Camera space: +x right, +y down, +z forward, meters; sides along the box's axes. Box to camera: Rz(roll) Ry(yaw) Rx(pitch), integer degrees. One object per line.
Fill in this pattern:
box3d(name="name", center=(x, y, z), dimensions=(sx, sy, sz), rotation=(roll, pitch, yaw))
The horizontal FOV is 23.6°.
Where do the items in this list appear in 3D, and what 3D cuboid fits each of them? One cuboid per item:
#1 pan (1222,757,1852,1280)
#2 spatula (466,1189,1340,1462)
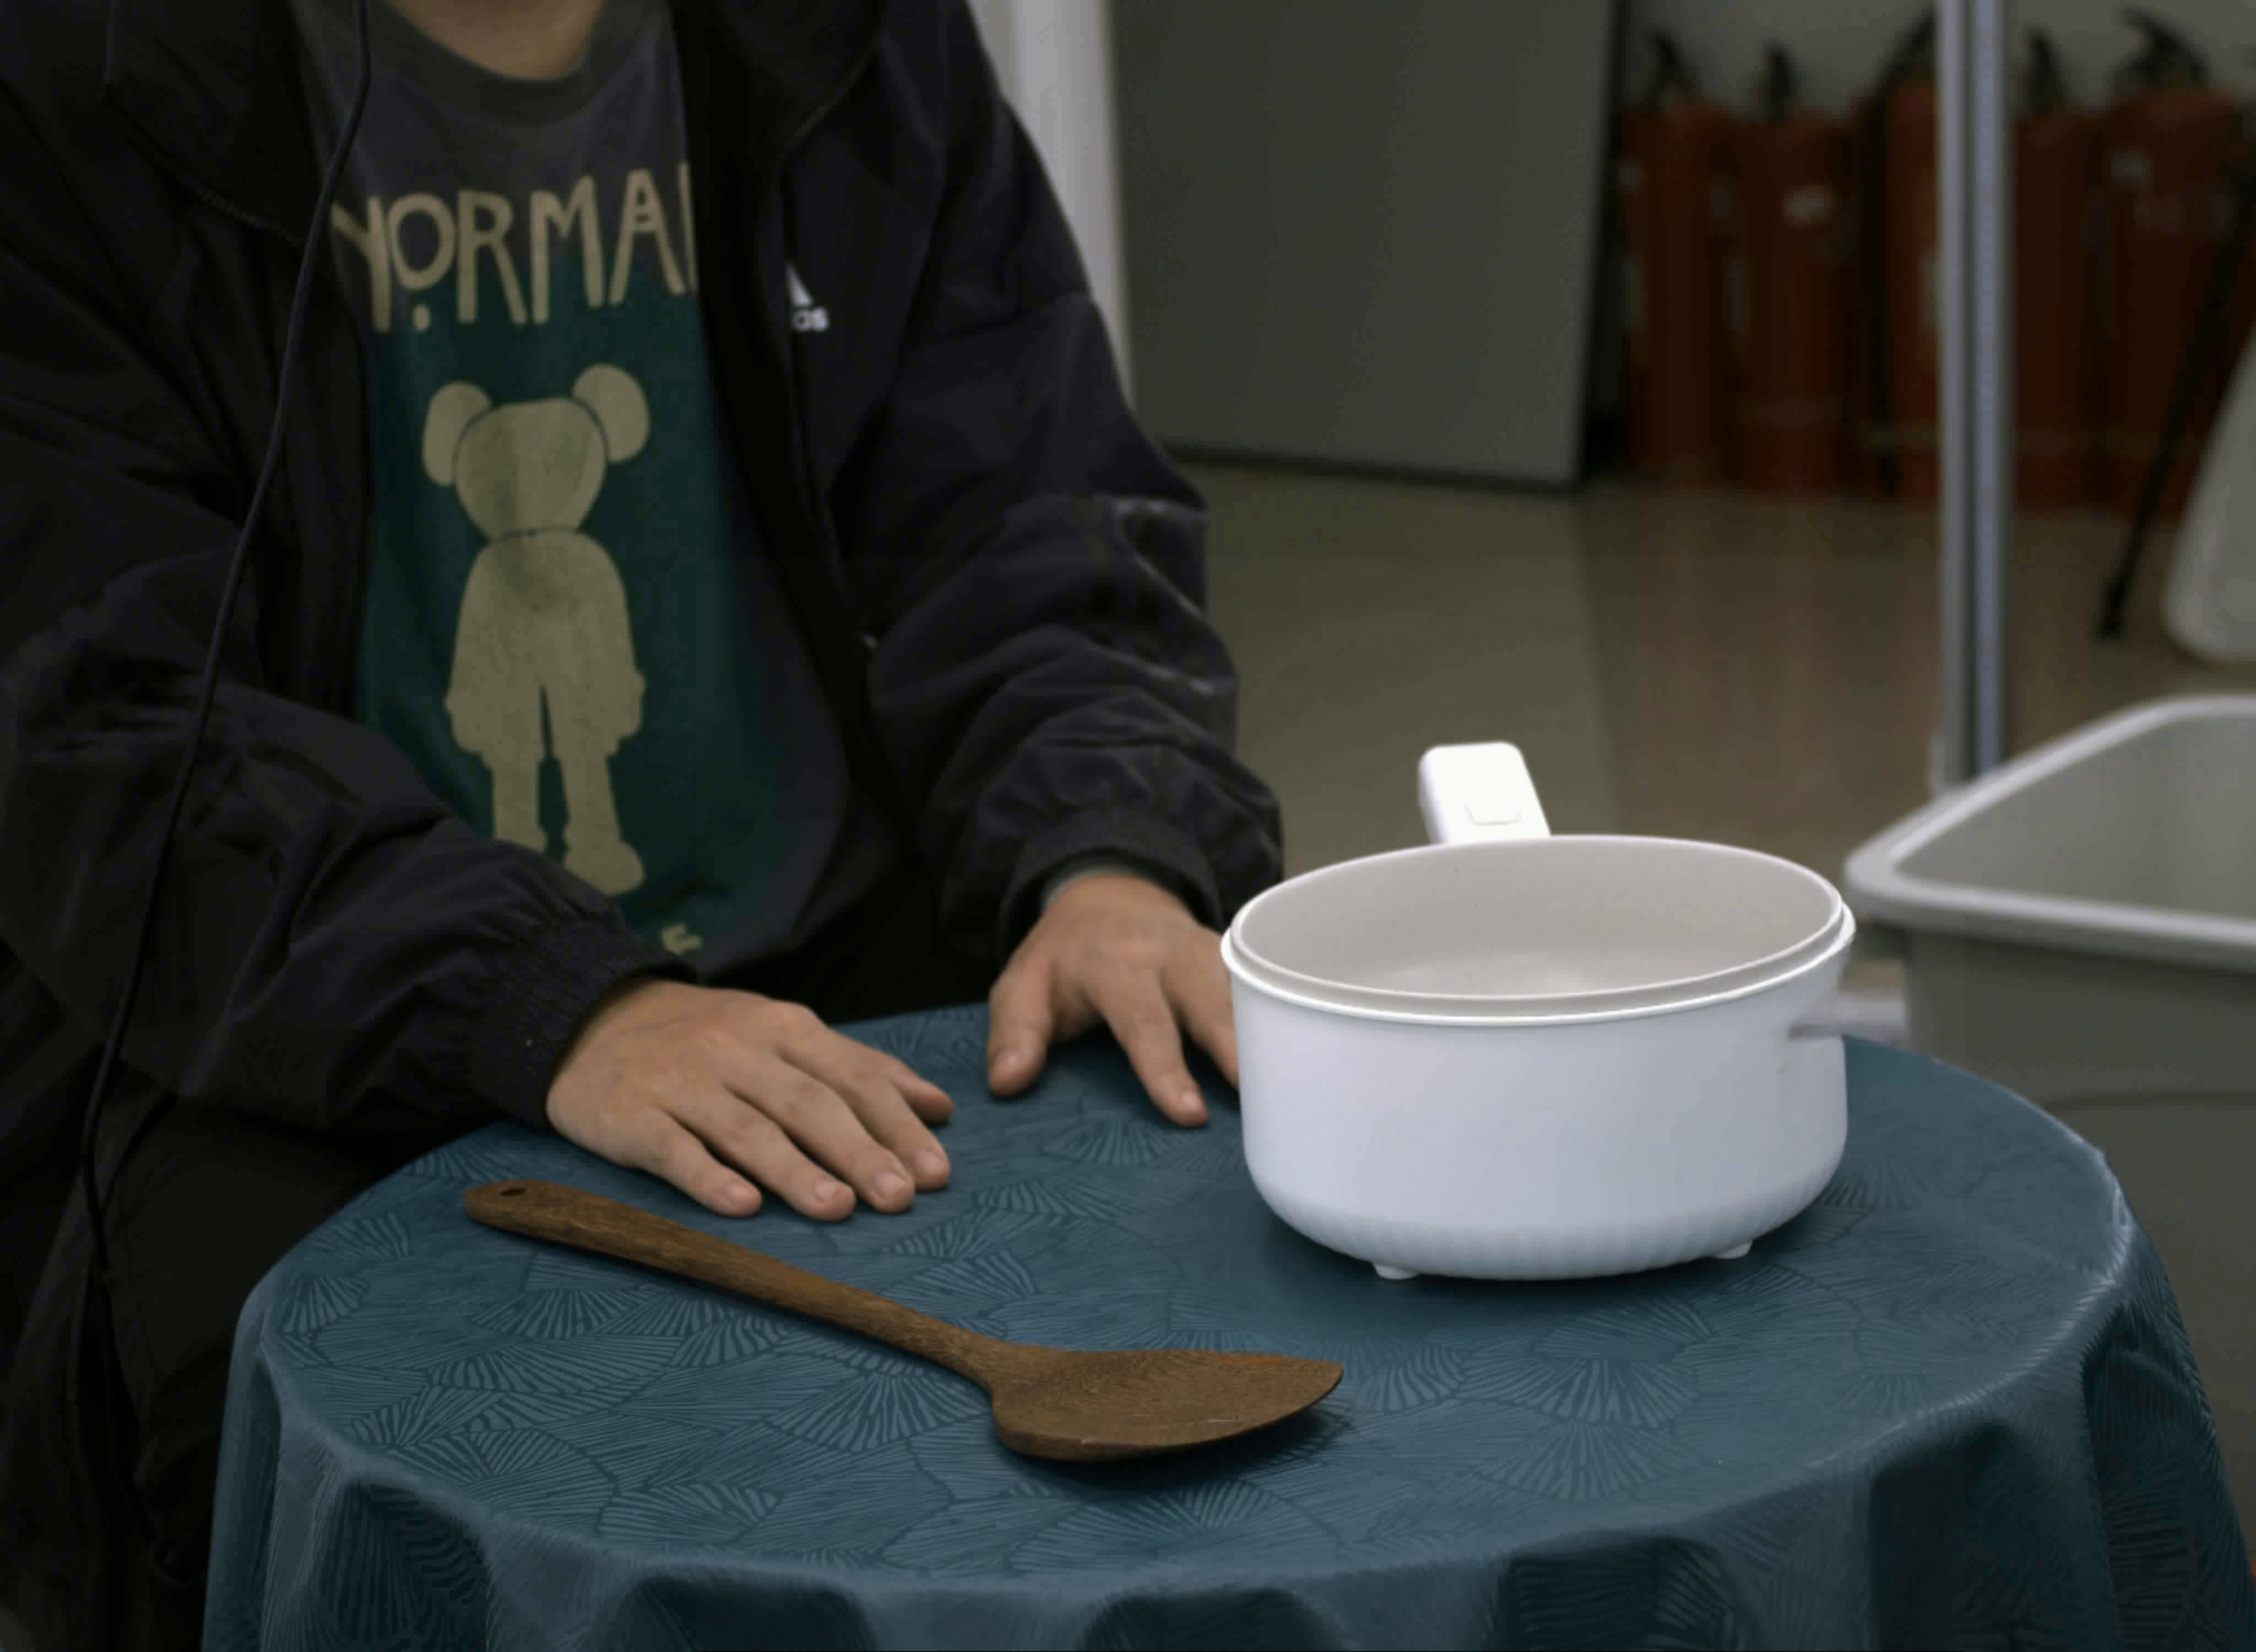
box3d(name="pan", center=(0.131, 0.059, 1.785), dimensions=(0.199, 0.103, 0.355), rotation=(-5, 12, 1))
box3d(name="spatula", center=(-0.089, 0.148, 1.661), dimensions=(0.094, 0.016, 0.390), rotation=(-15, 17, -39))
